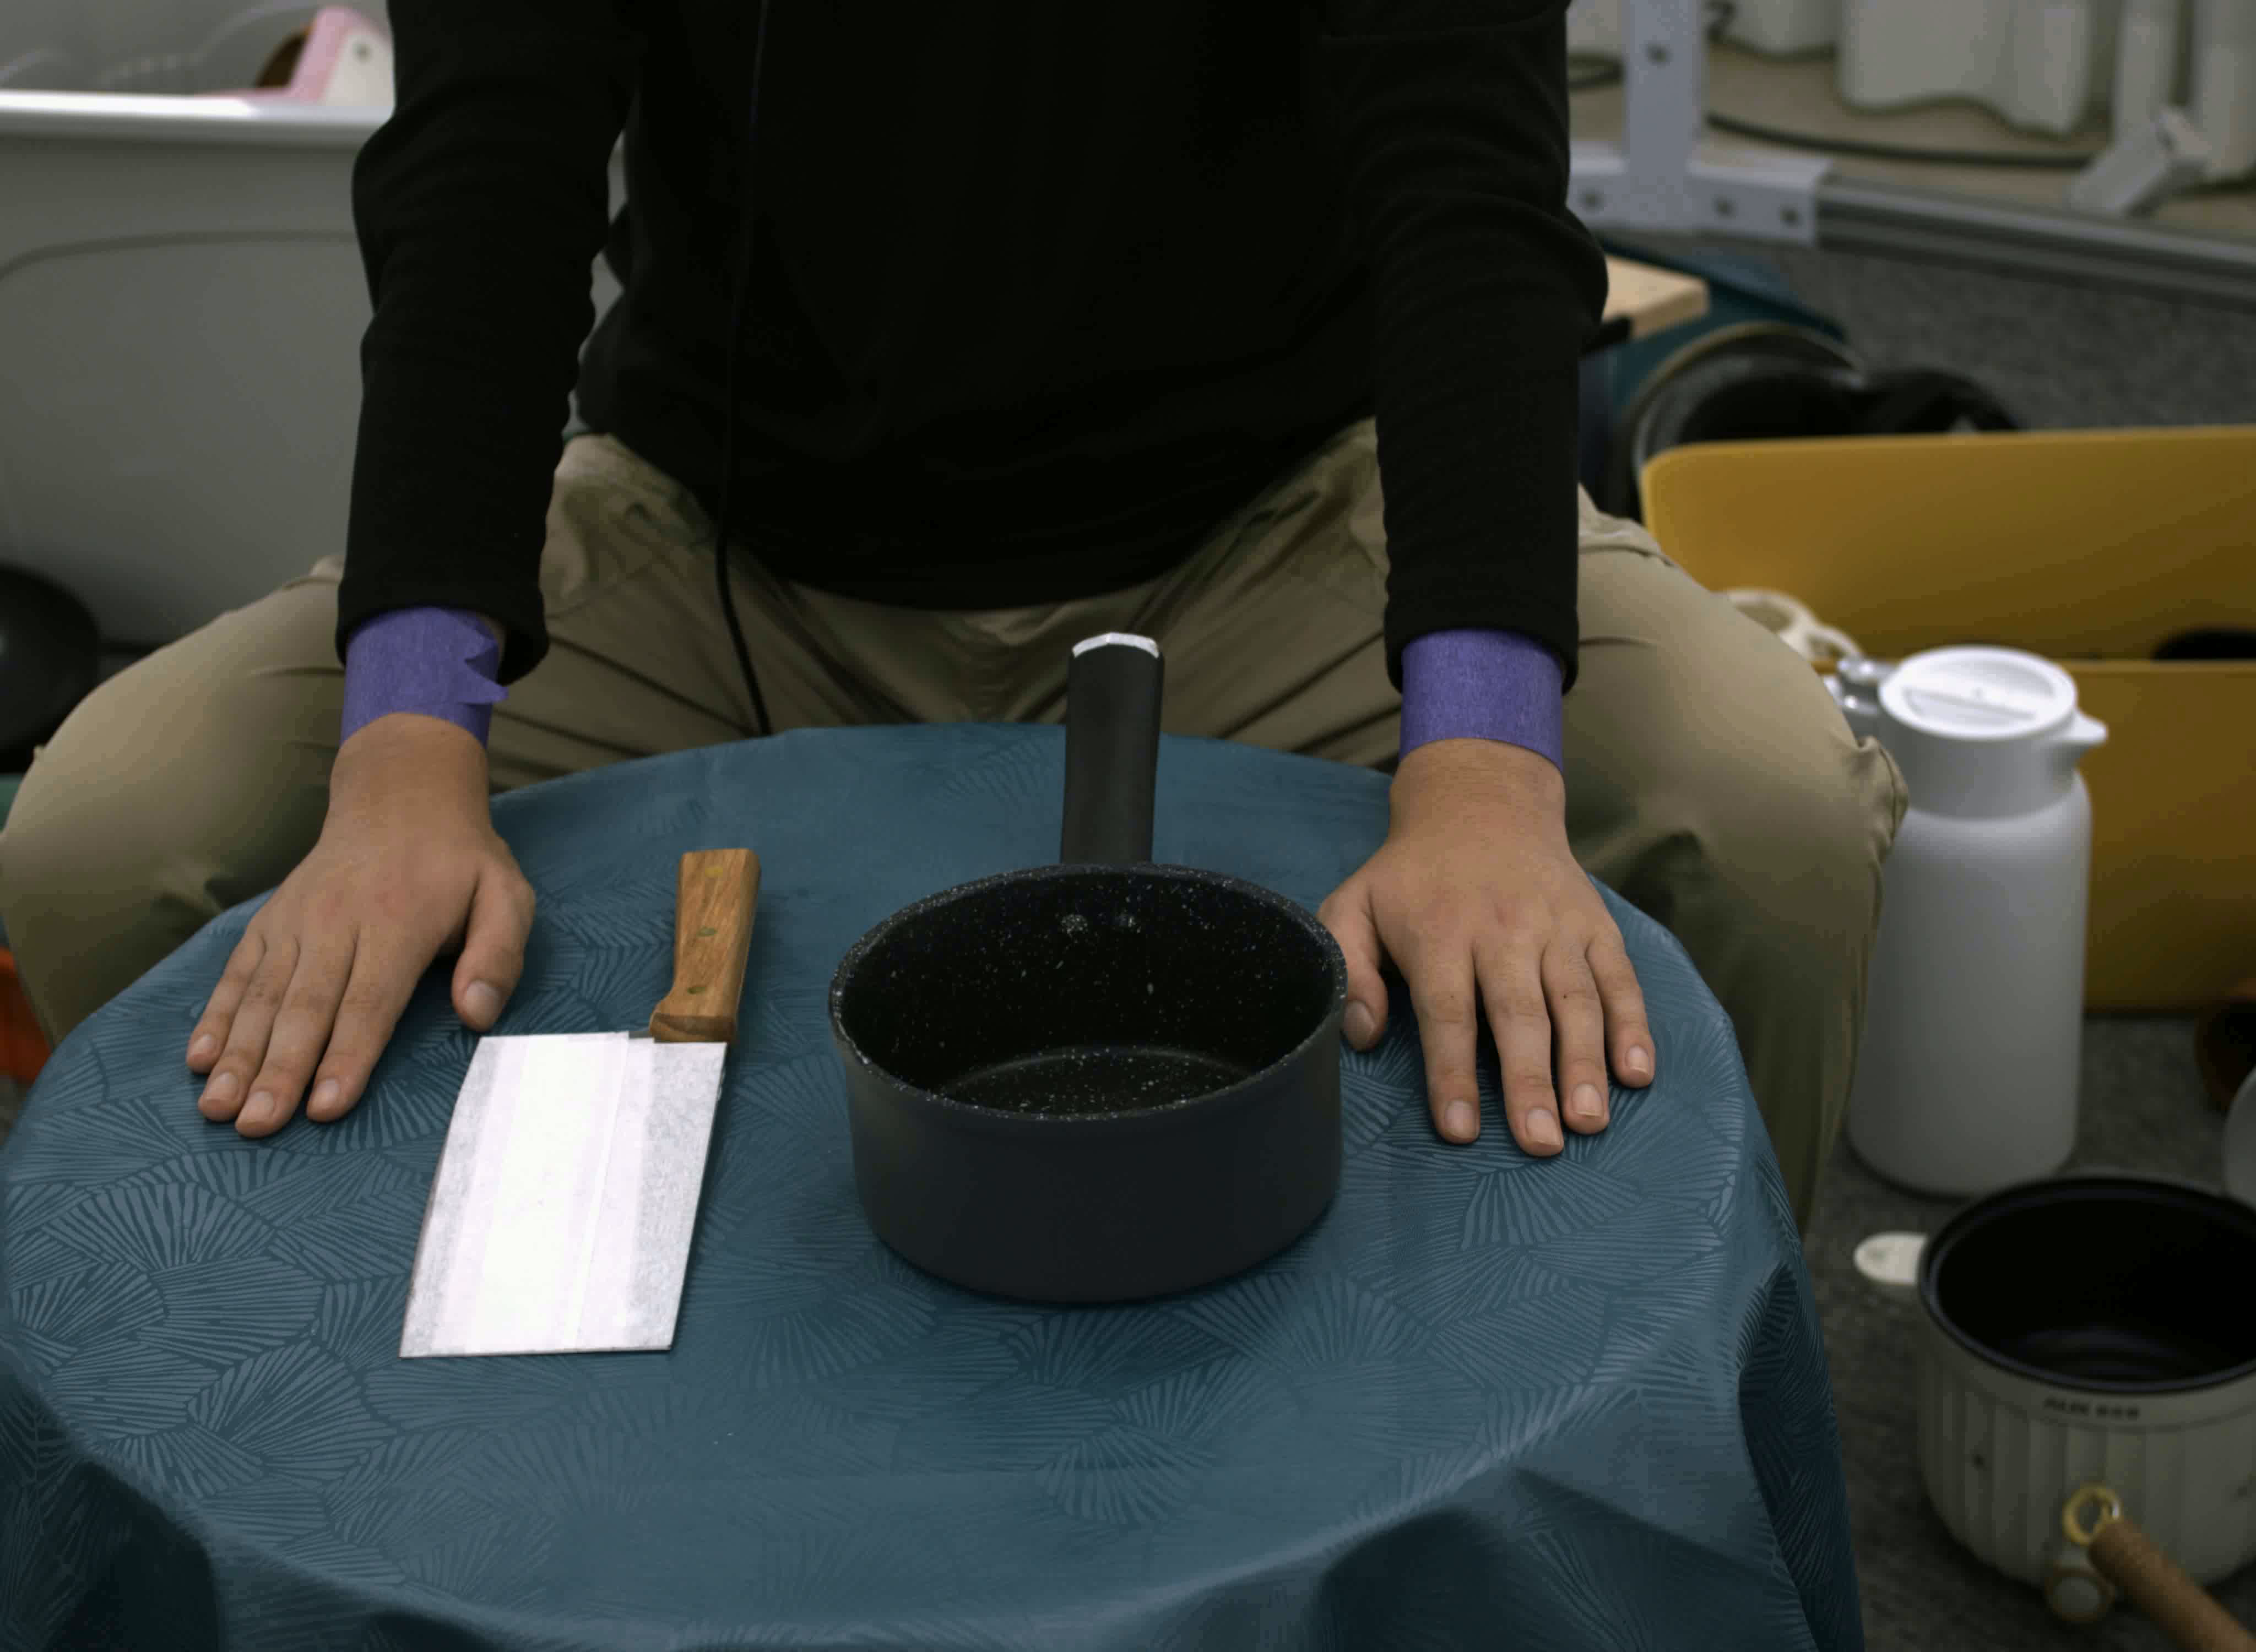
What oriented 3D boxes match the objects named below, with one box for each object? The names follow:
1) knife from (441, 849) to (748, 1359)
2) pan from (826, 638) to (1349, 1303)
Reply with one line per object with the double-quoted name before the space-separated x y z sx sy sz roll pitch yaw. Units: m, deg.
"knife" -0.182 0.092 1.917 0.092 0.021 0.311 -2 29 4
"pan" -0.005 0.046 1.919 0.171 0.085 0.334 0 28 5
